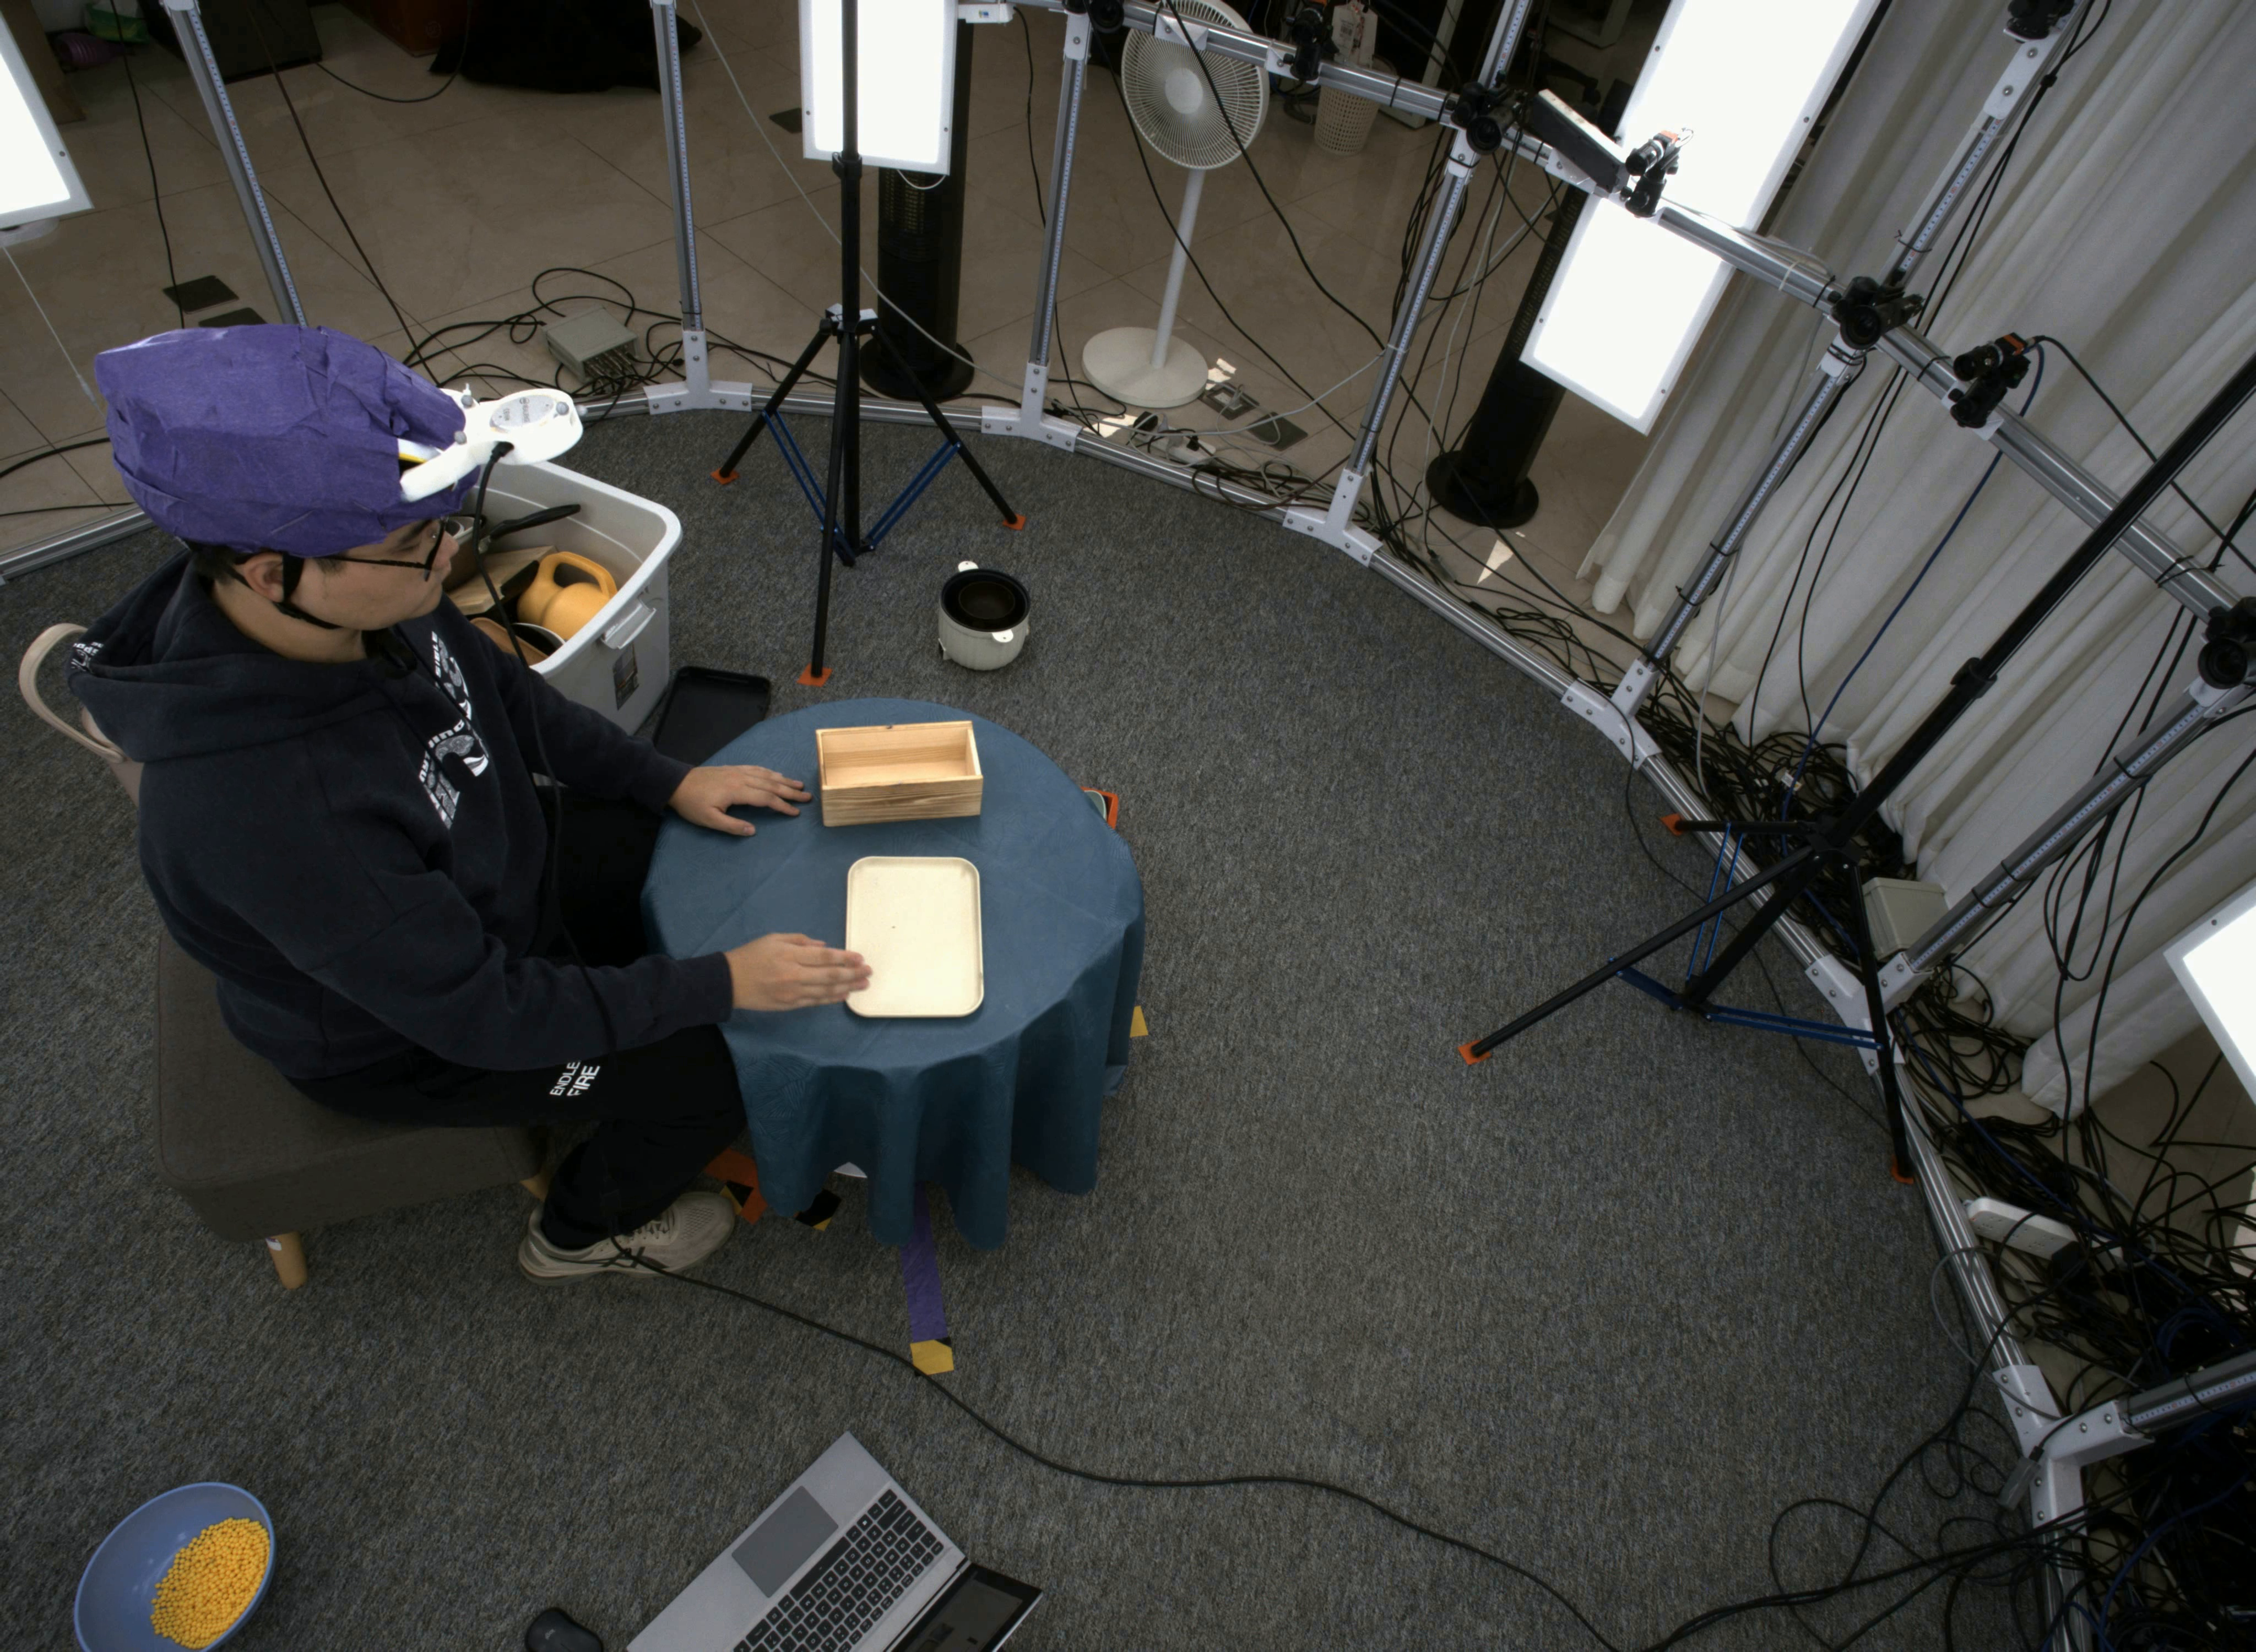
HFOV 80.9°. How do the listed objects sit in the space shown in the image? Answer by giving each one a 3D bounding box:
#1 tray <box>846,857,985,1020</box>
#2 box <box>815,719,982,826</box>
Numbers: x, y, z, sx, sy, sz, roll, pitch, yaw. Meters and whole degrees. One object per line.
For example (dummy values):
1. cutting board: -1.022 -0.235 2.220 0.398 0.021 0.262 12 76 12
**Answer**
1. tray: -0.270 0.138 1.644 0.171 0.018 0.234 1 54 -12
2. box: -0.310 -0.074 1.753 0.212 0.082 0.105 -5 54 -17
